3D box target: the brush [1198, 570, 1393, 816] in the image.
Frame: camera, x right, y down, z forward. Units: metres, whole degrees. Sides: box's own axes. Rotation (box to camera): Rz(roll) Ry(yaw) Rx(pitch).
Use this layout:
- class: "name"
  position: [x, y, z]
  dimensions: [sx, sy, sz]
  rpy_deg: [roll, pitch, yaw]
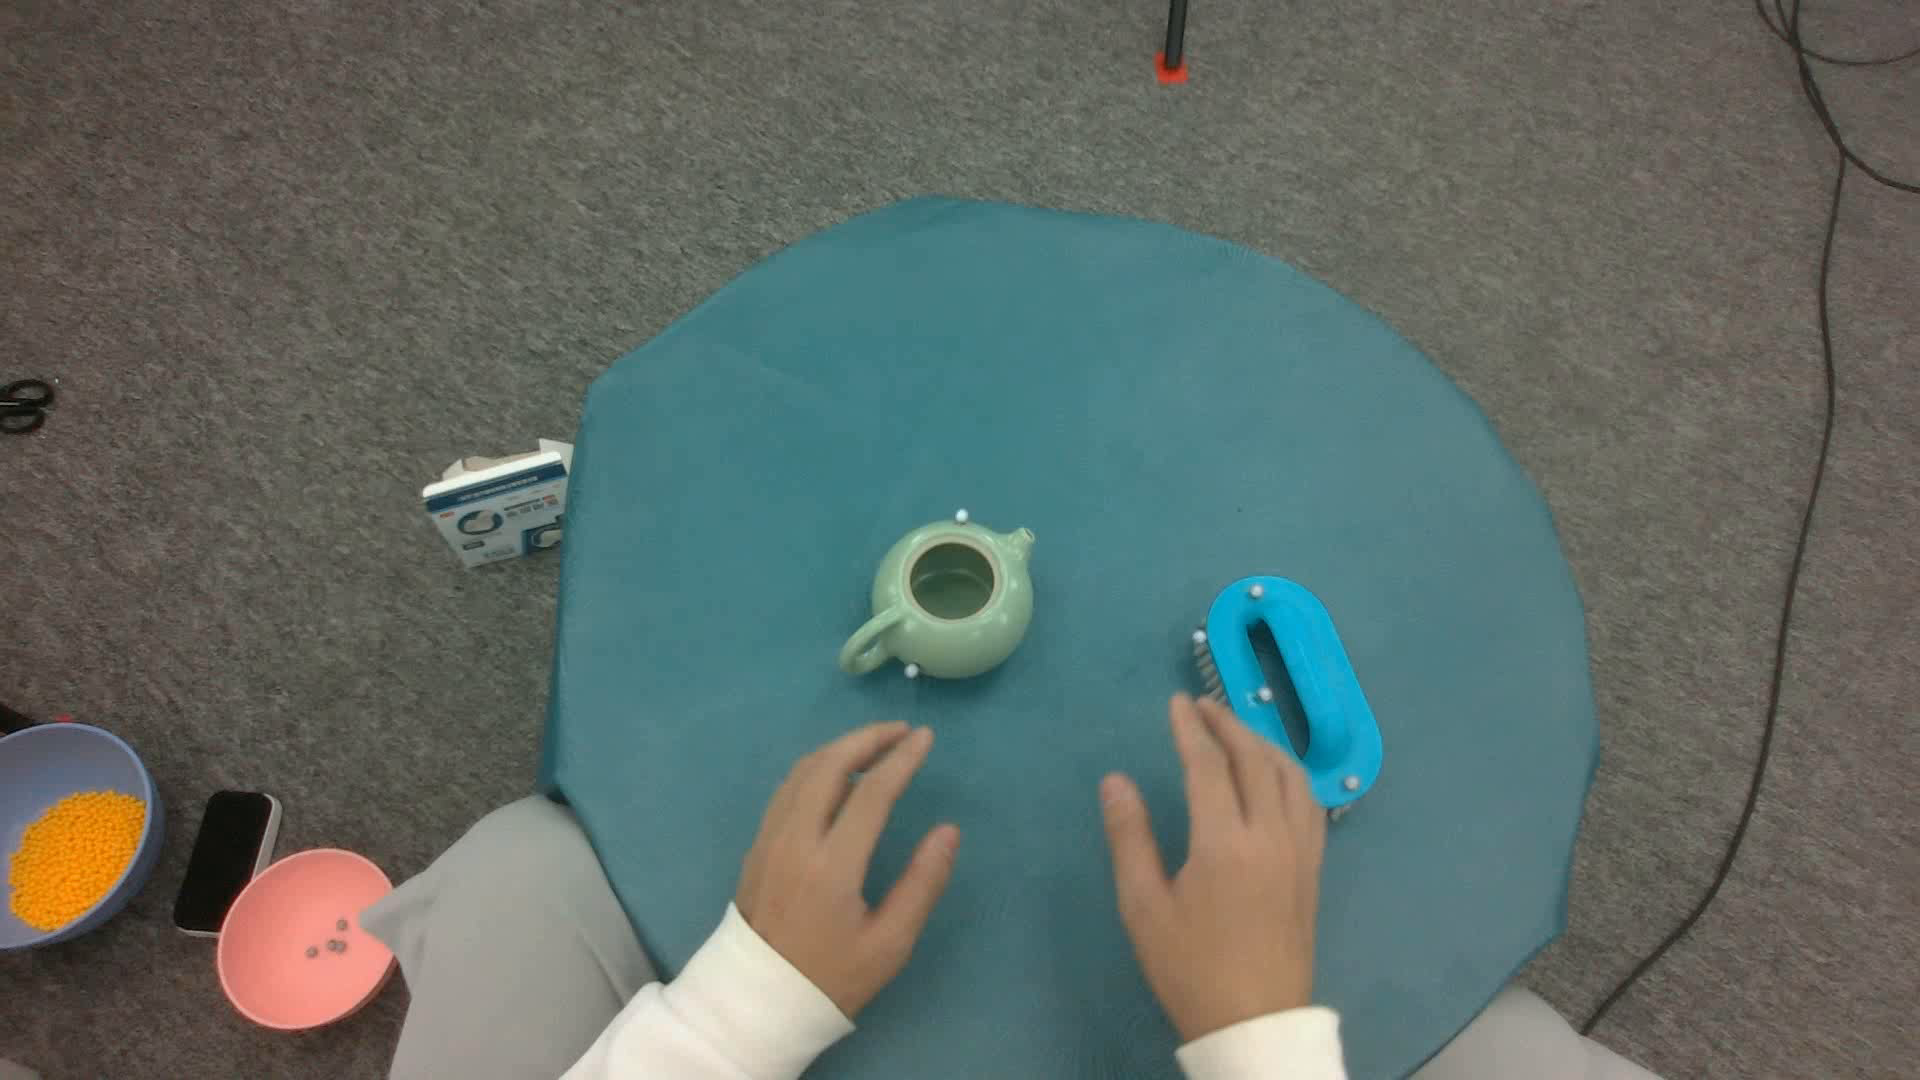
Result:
- class: "brush"
  position: [0.191, 0.077, 0.766]
  dimensions: [0.084, 0.063, 0.142]
  rpy_deg: [-10, 64, -12]

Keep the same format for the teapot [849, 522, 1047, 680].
- class: "teapot"
  position: [-0.006, 0.039, 0.787]
  dimensions: [0.129, 0.061, 0.091]
  rpy_deg: [-28, 69, -13]
